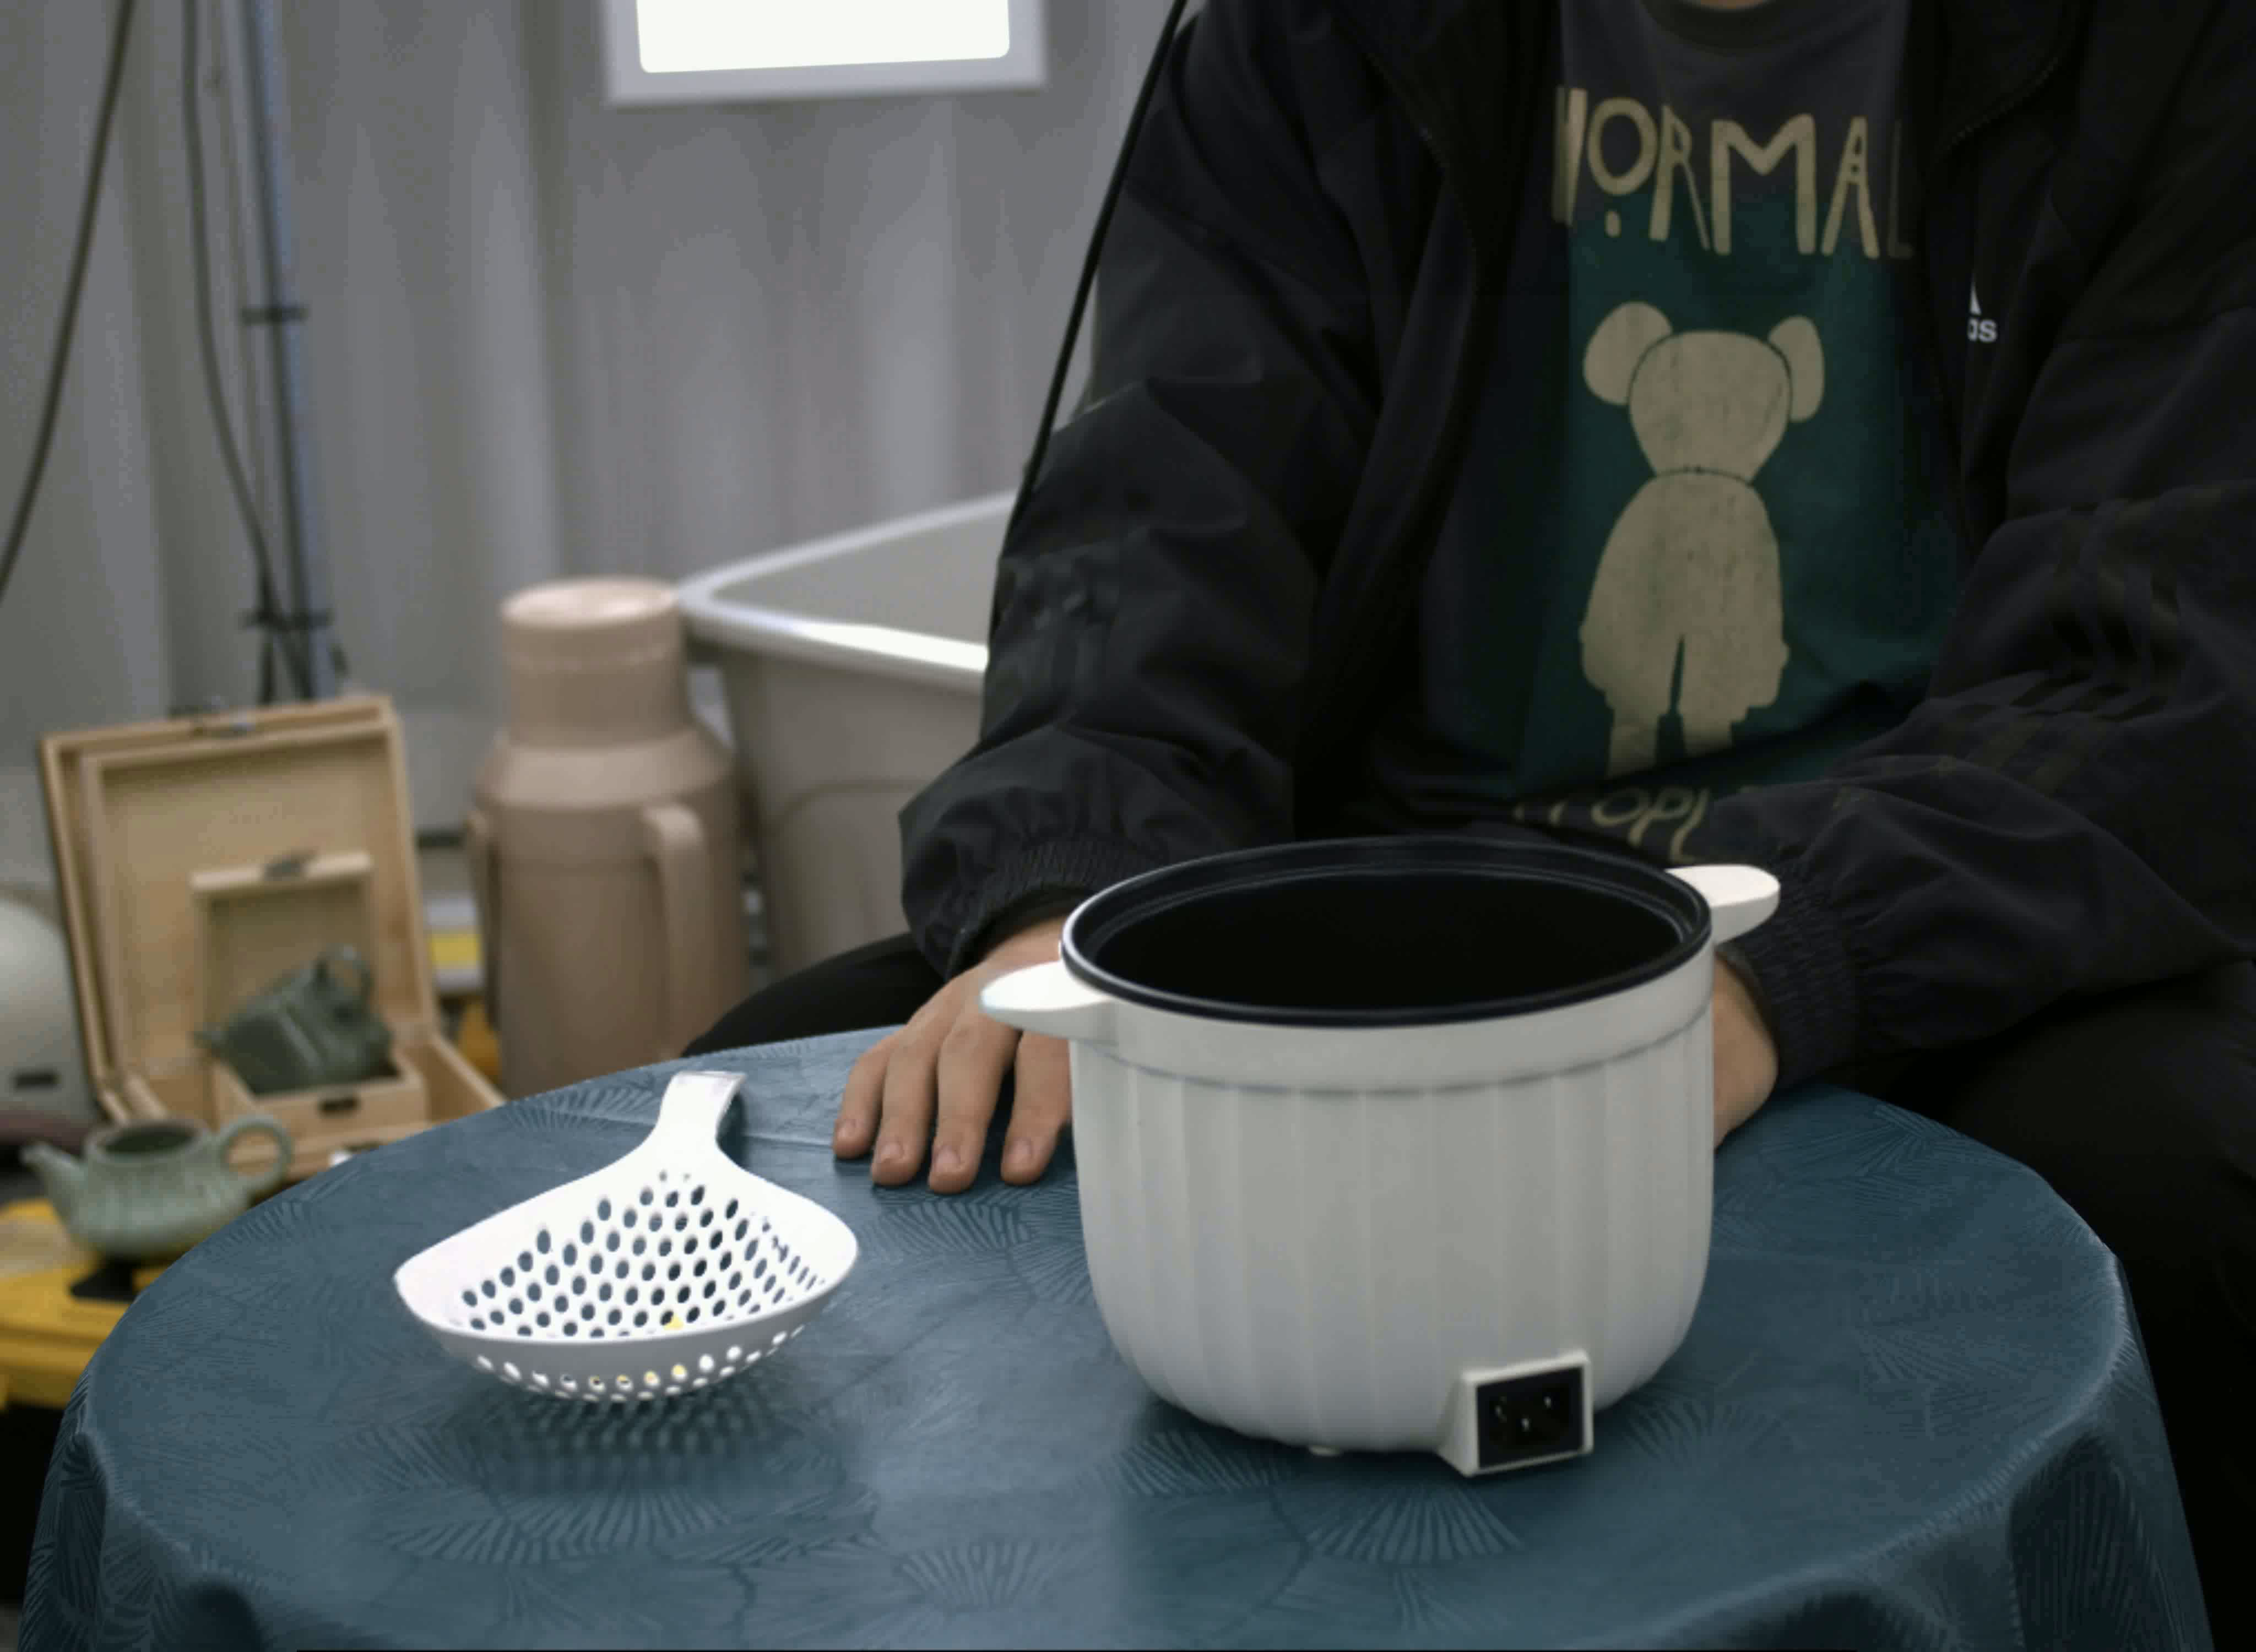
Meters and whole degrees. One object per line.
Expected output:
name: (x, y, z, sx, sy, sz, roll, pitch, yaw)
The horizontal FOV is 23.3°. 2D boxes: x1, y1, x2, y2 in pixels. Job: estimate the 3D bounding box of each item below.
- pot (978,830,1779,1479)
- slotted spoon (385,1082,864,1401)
pot: (0.071, 0.089, 1.531, 0.239, 0.142, 0.192, -7, 18, -21)
slotted spoon: (-0.140, 0.112, 1.668, 0.136, 0.050, 0.350, -4, 15, 2)
